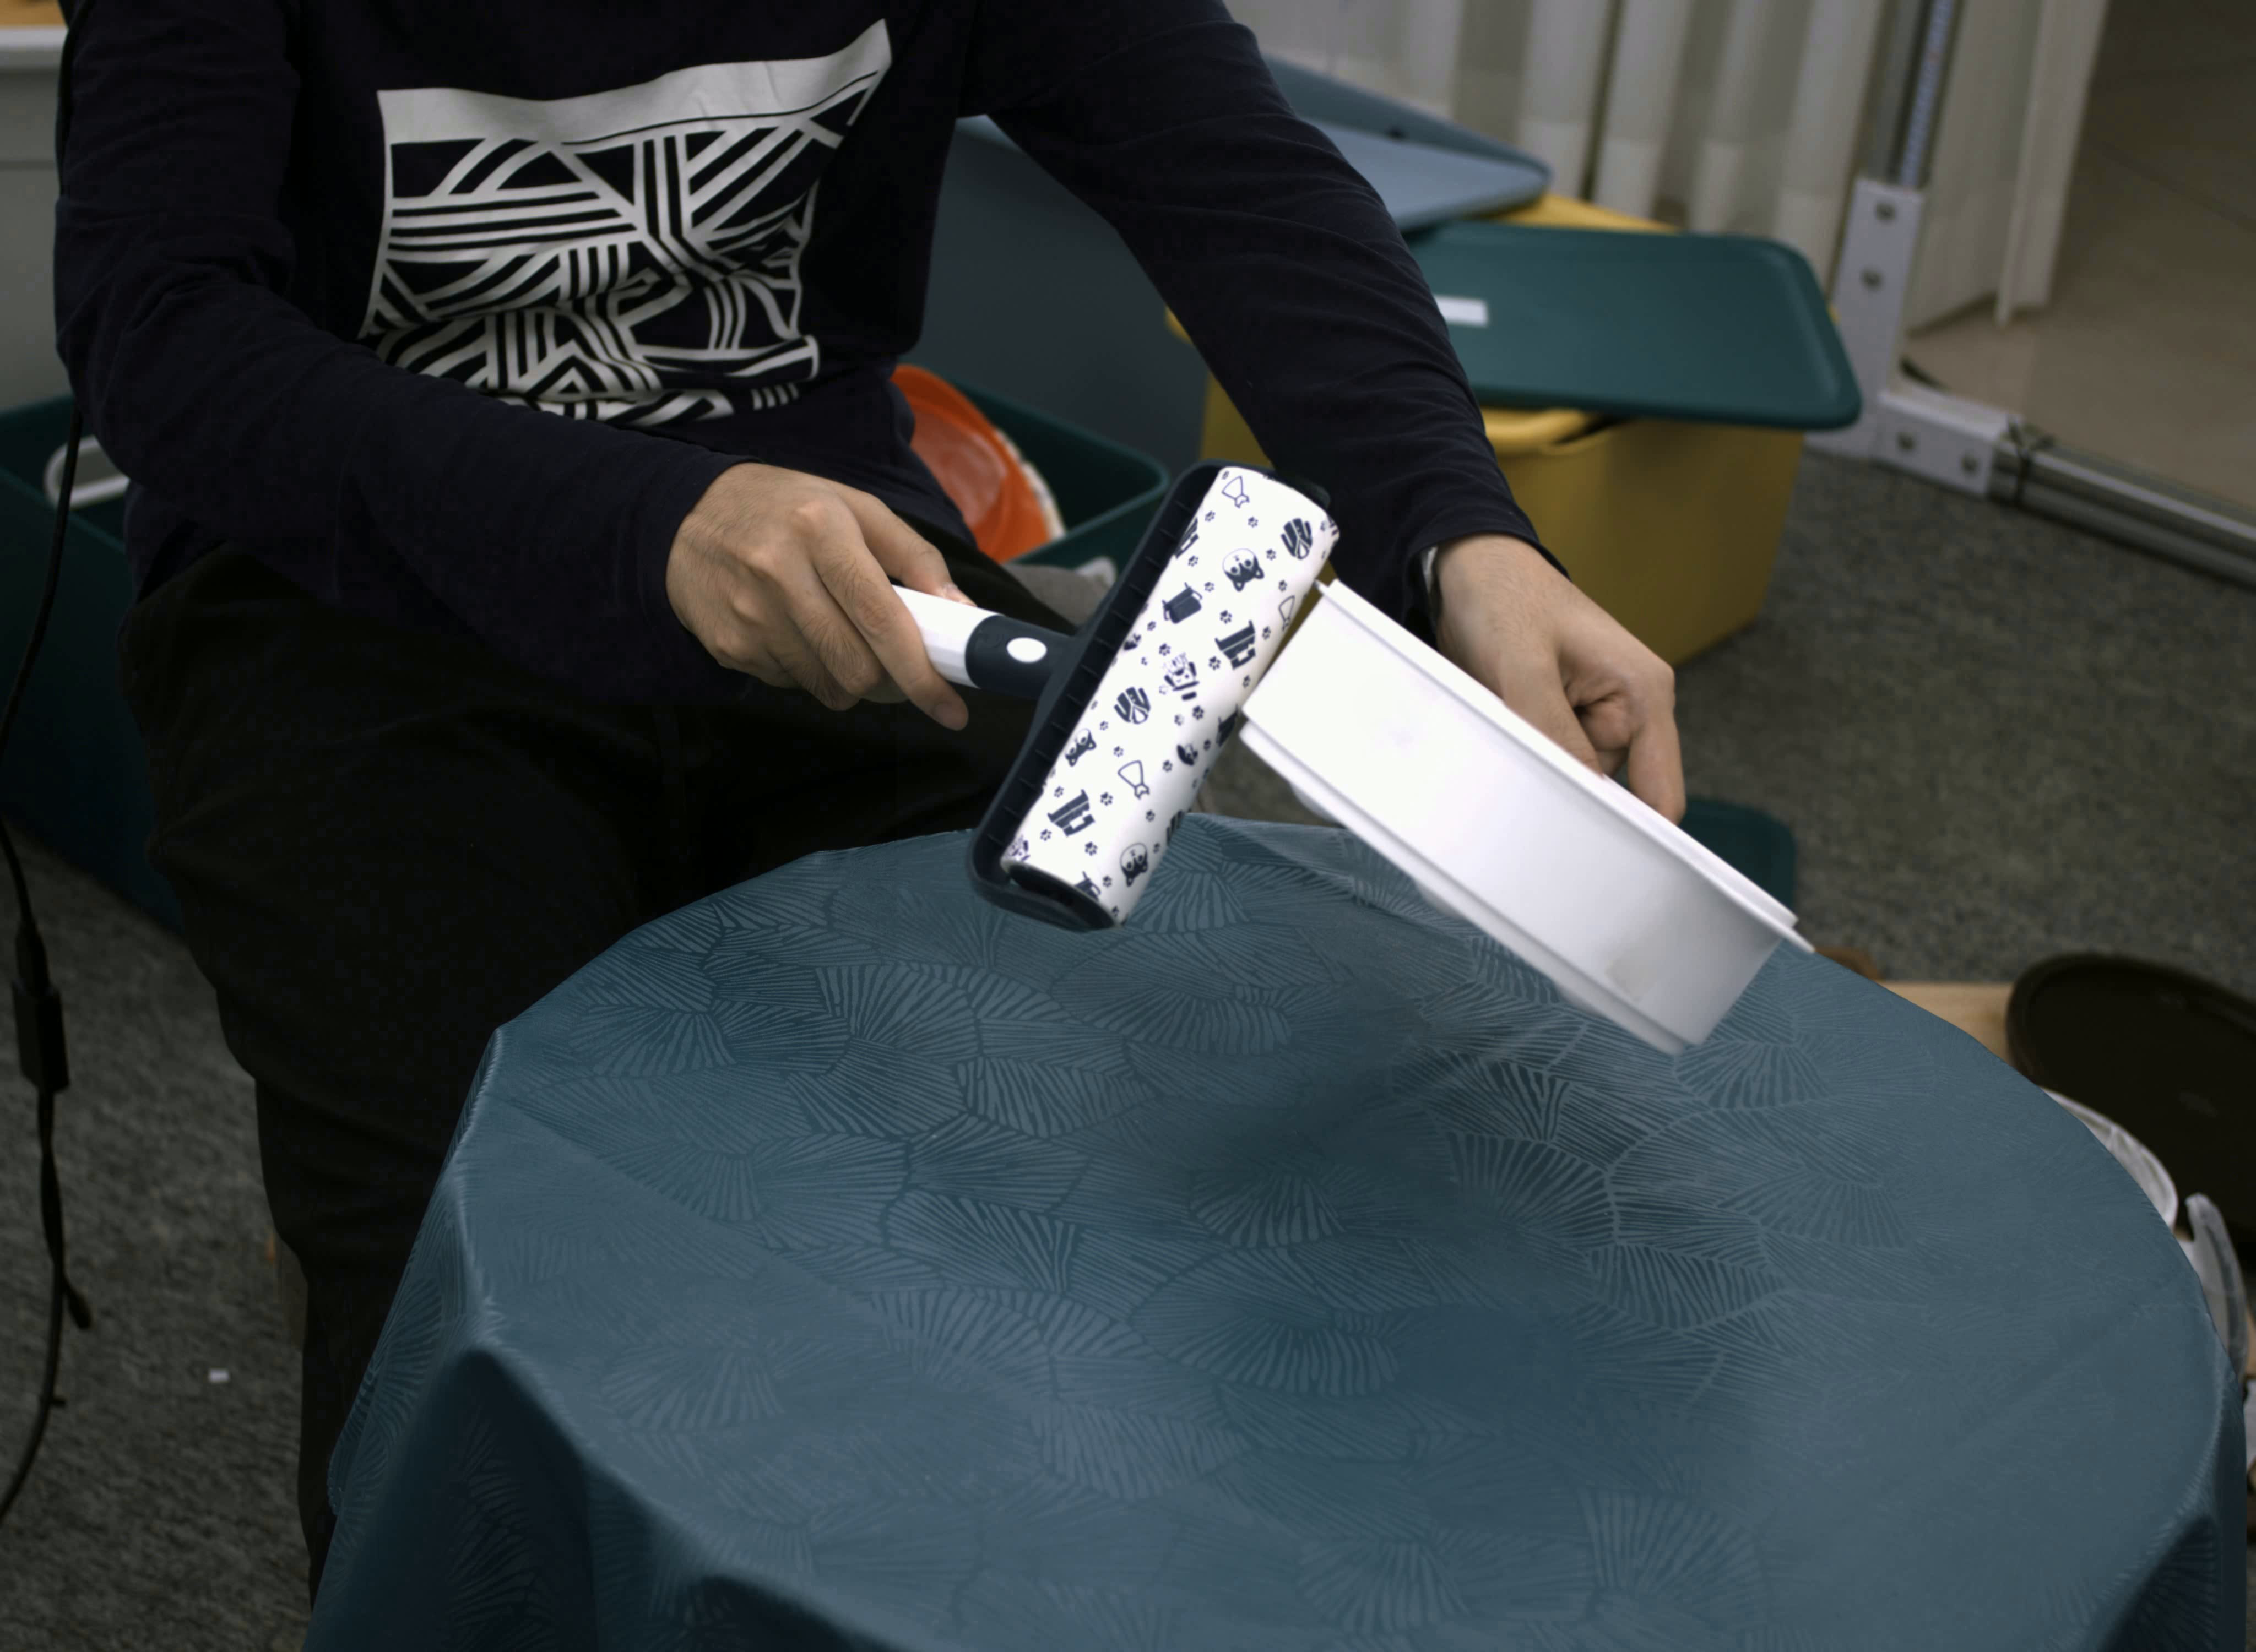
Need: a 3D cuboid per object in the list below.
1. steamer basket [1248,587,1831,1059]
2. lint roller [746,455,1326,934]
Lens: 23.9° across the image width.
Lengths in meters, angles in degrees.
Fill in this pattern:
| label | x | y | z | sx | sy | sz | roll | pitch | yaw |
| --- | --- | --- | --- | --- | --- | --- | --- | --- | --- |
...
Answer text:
| label | x | y | z | sx | sy | sz | roll | pitch | yaw |
| --- | --- | --- | --- | --- | --- | --- | --- | --- | --- |
| steamer basket | 0.132 | 0.002 | 1.801 | 0.232 | 0.069 | 0.200 | 37 | 3 | 37 |
| lint roller | -0.057 | -0.062 | 1.895 | 0.248 | 0.177 | 0.050 | 14 | -19 | 43 |
